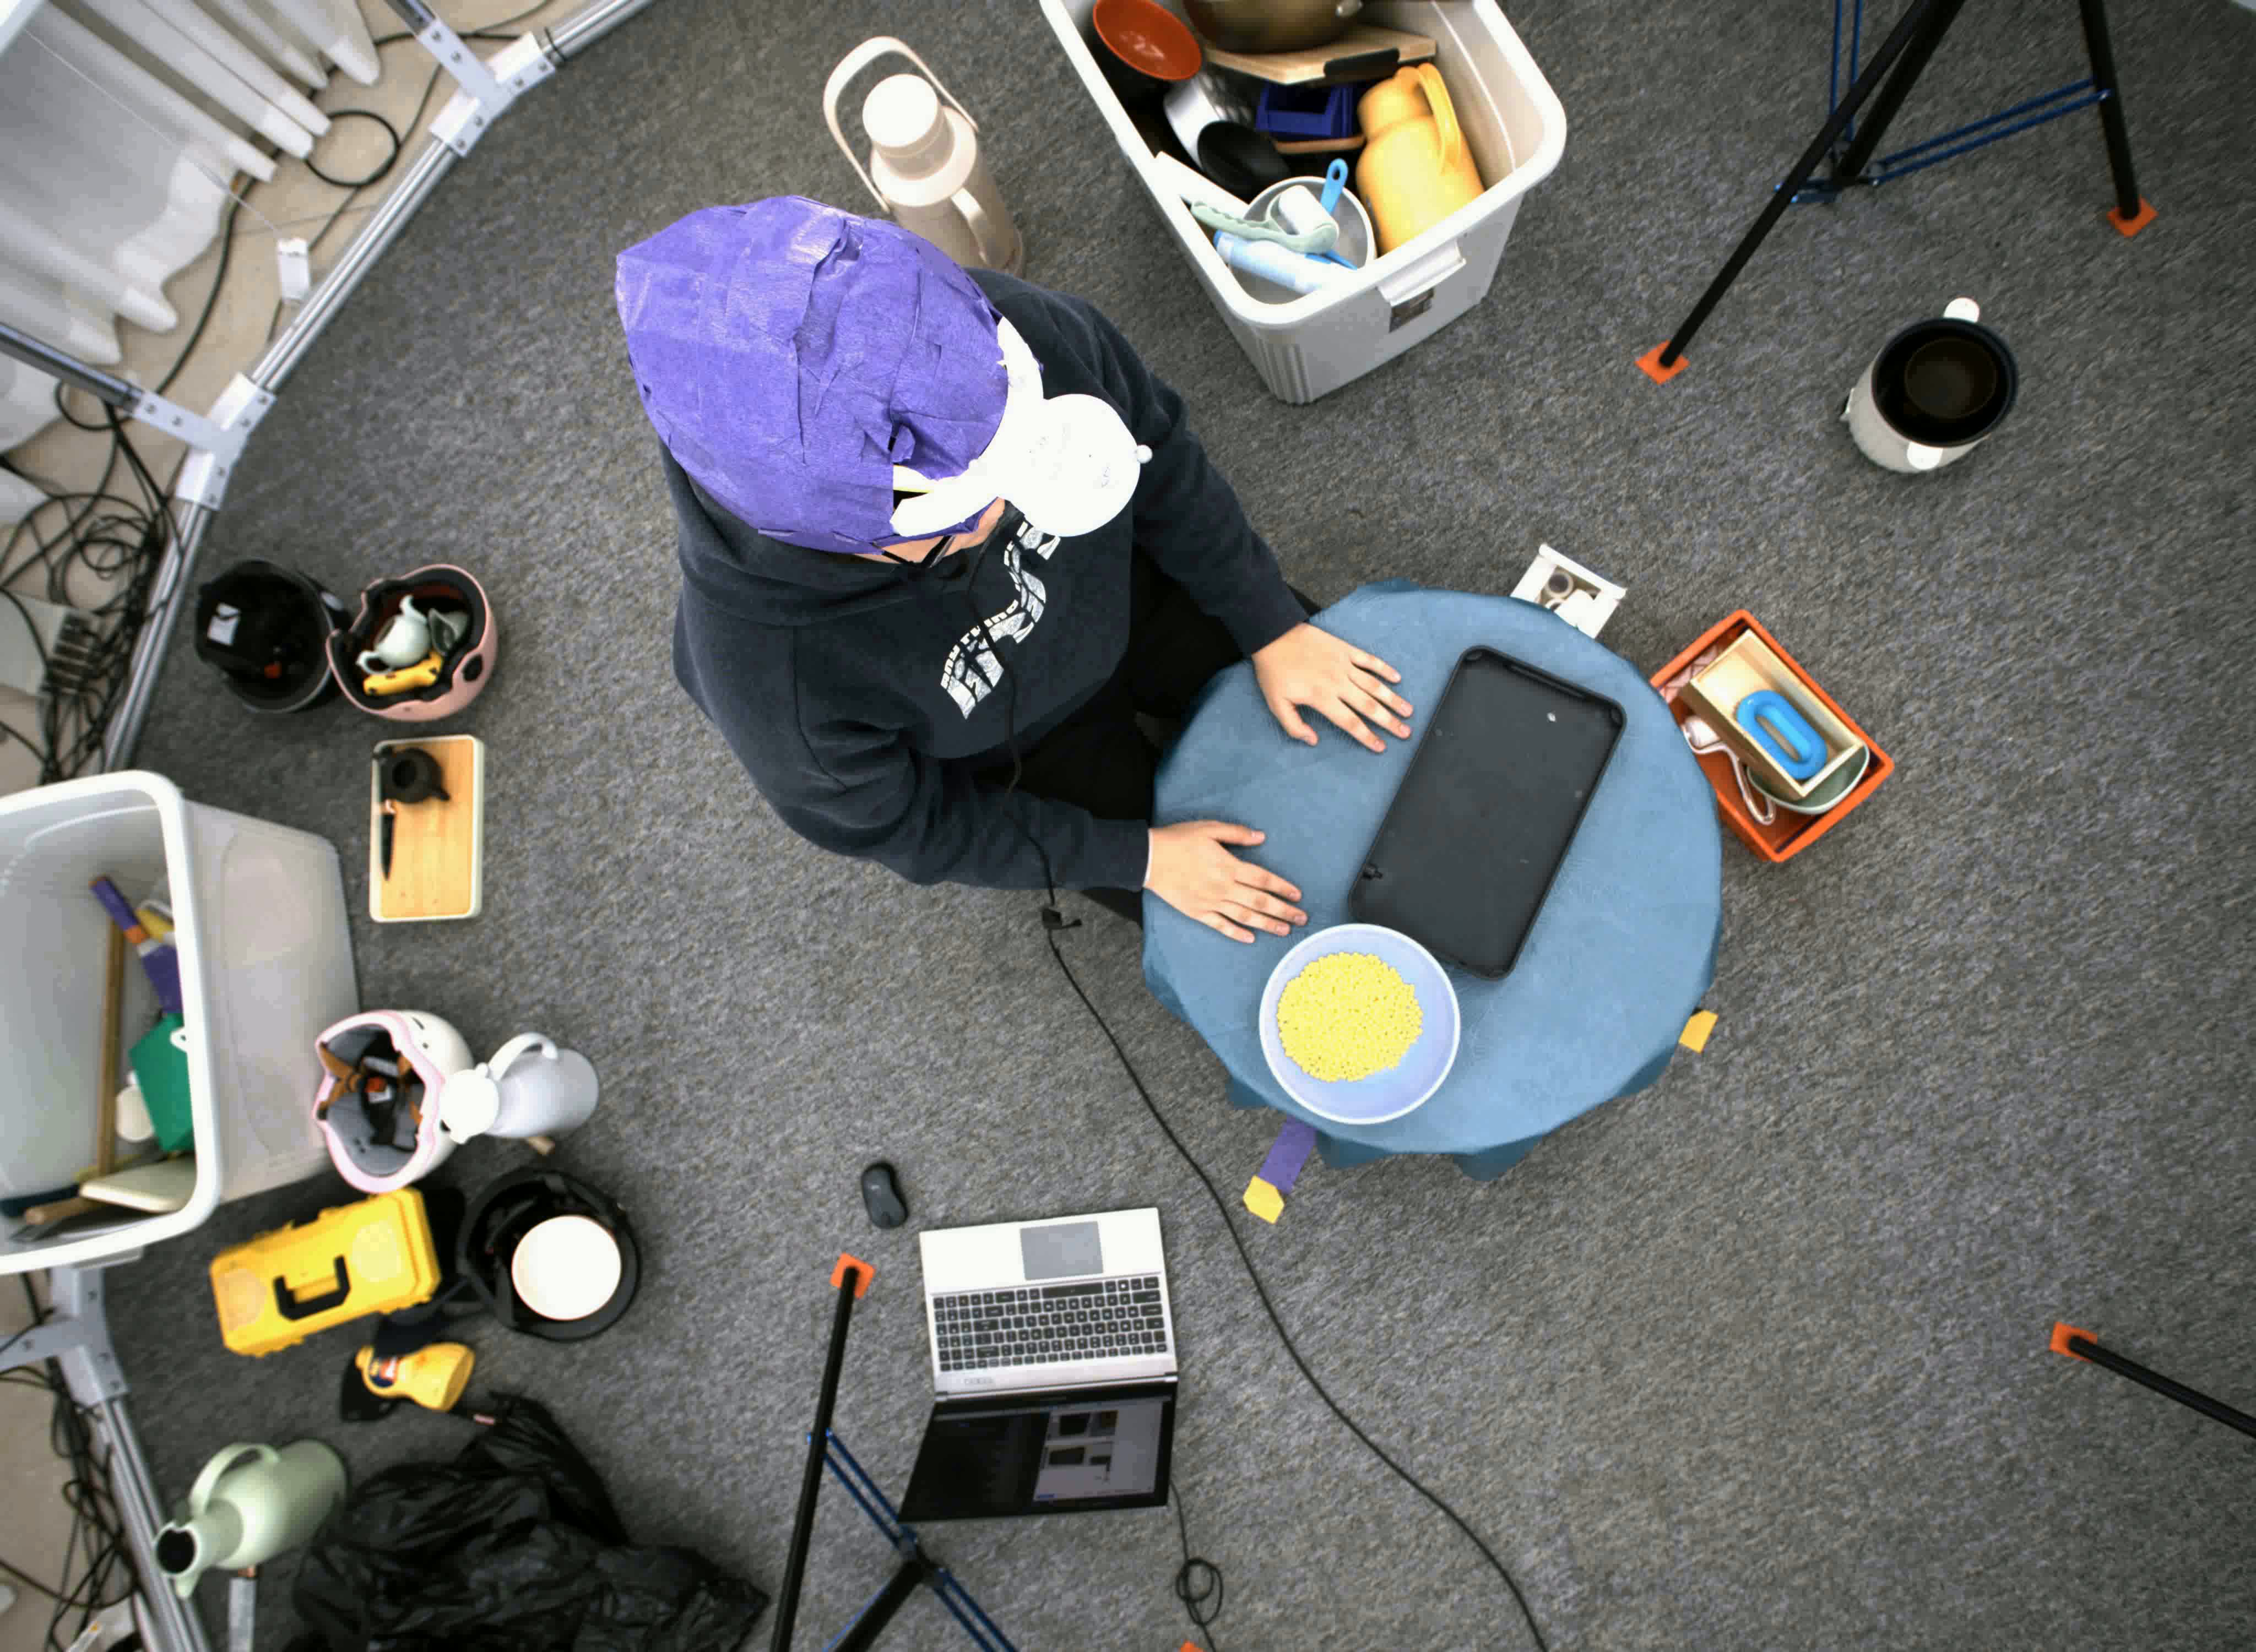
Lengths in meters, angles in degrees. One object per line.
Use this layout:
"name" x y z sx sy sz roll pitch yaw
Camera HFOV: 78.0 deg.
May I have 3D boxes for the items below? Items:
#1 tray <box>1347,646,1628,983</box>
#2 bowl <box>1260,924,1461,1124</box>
"tray" 0.371 -0.015 1.427 0.184 0.037 0.318 26 91 12
"bowl" 0.236 0.198 1.410 0.197 0.095 0.196 -1 87 10
